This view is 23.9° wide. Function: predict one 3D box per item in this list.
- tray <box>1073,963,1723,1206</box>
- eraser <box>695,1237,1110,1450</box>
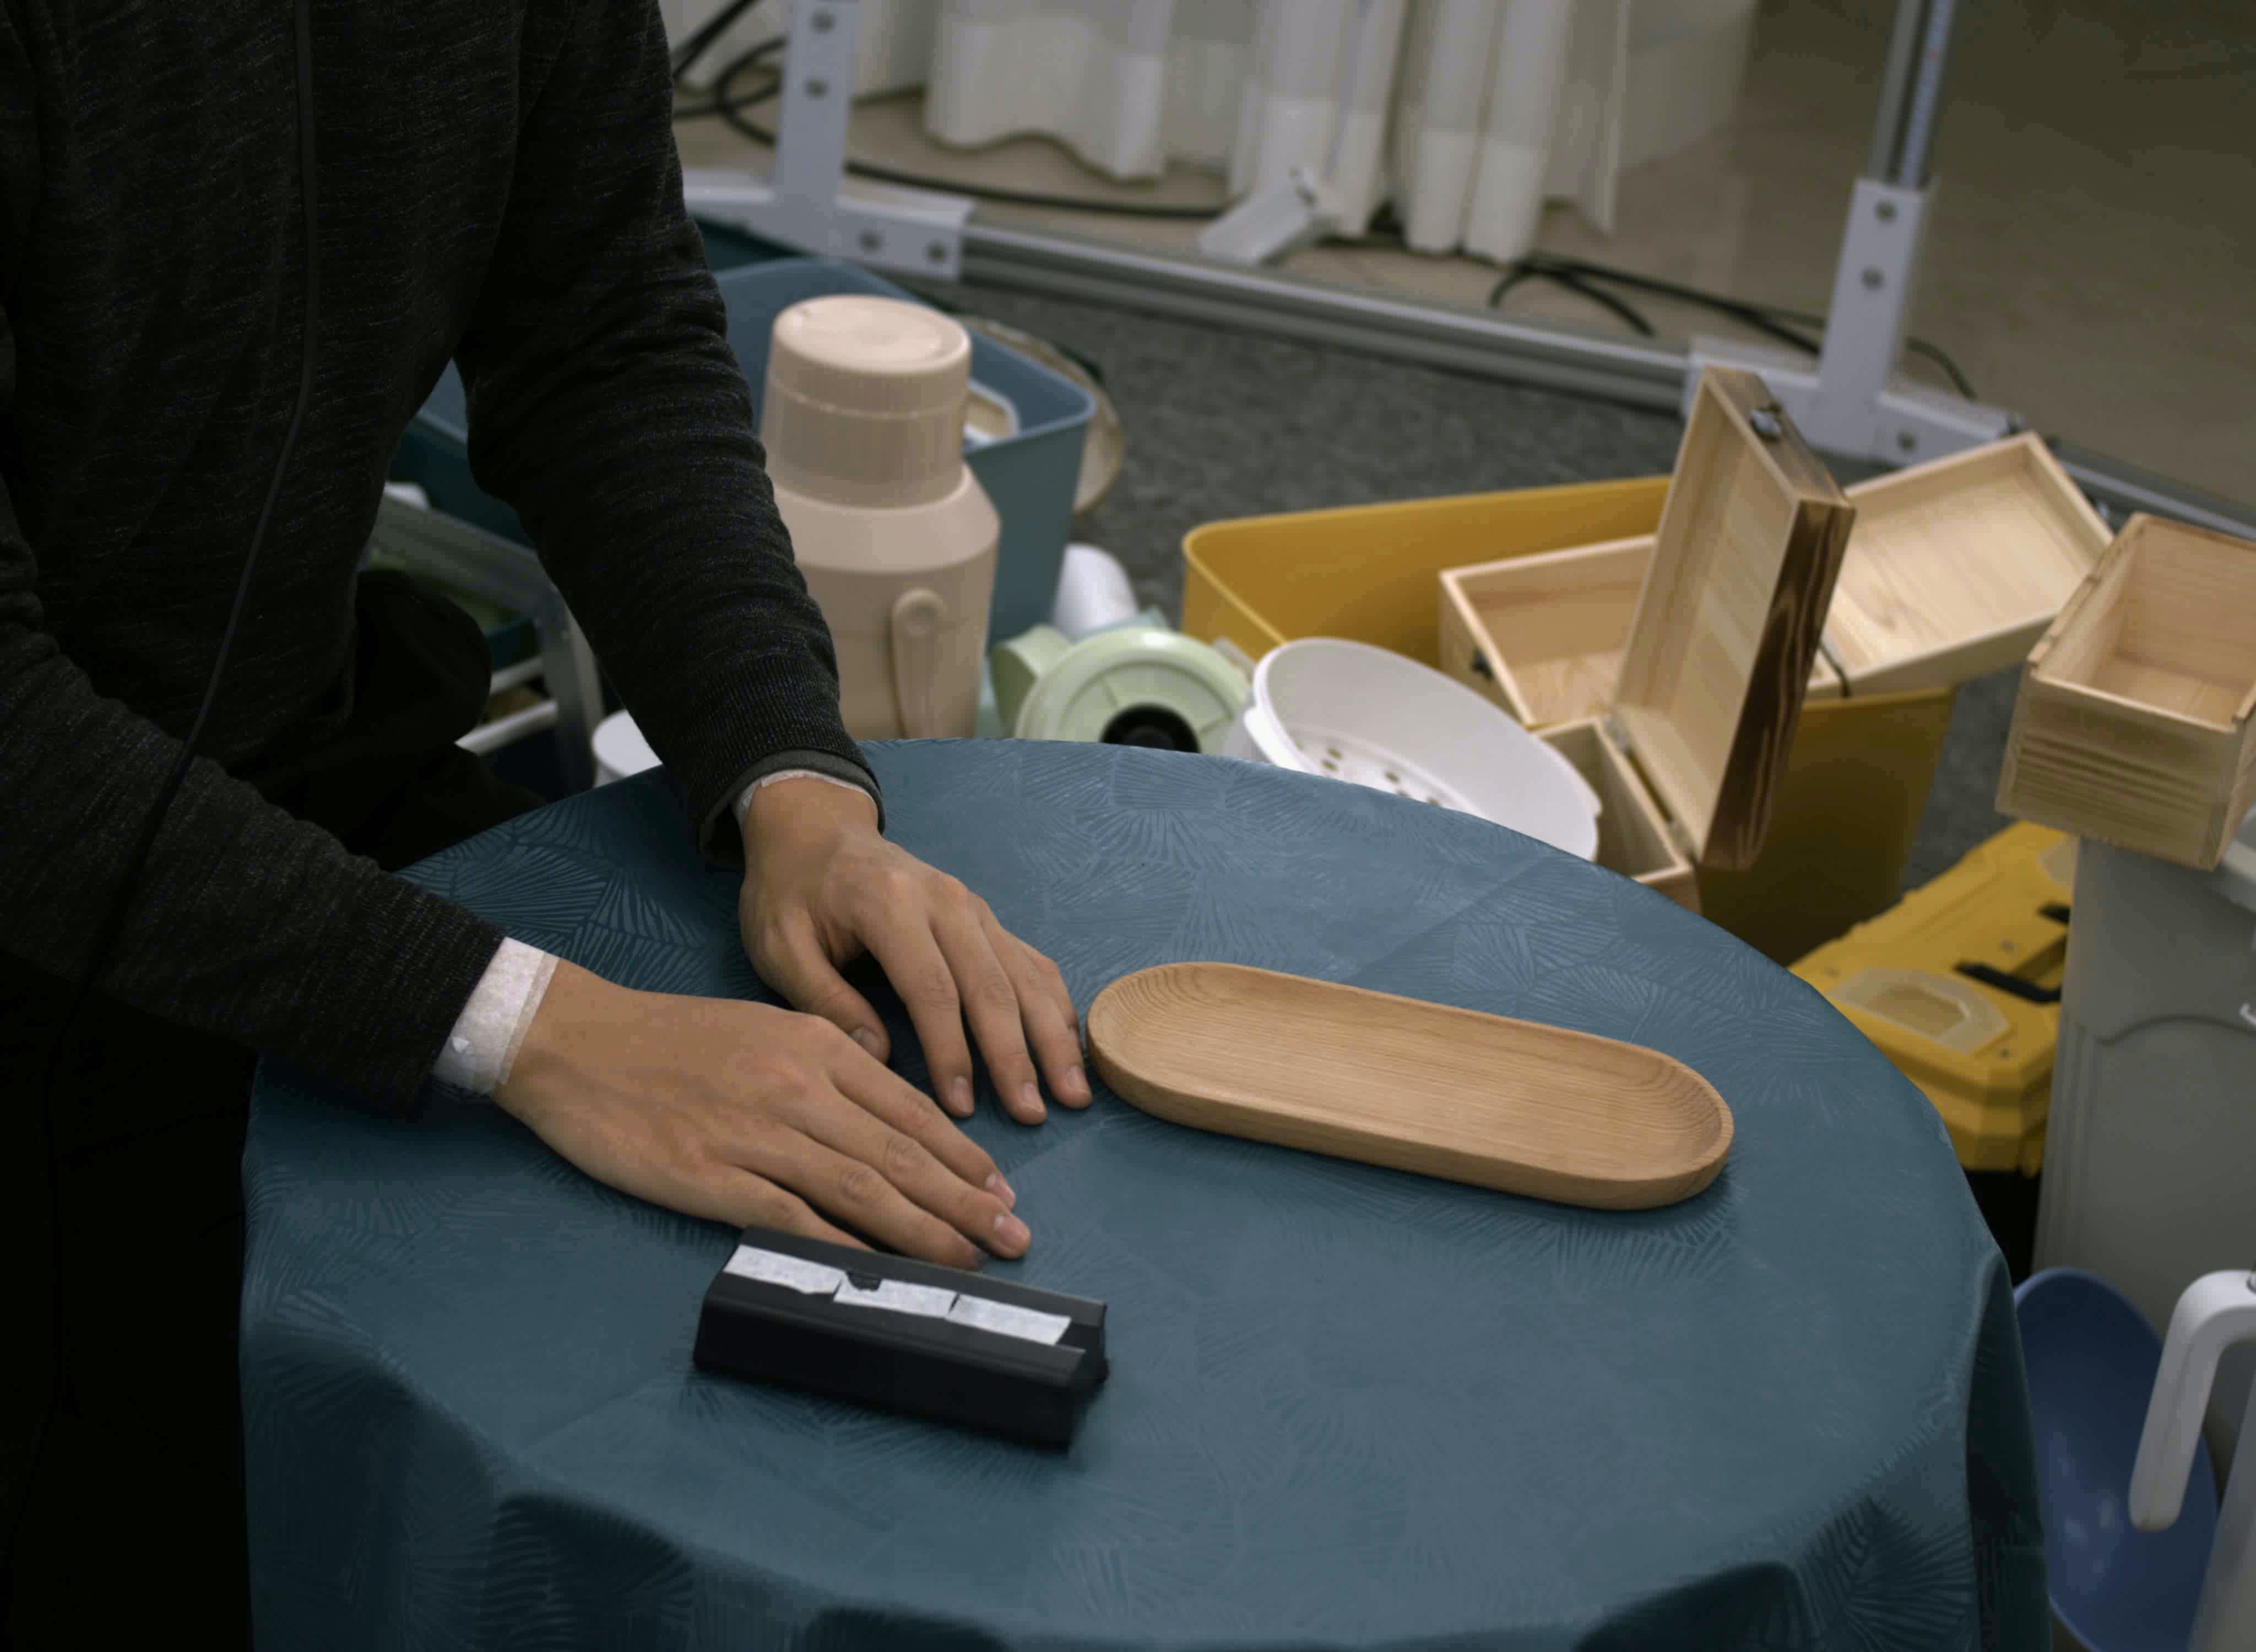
[{"bbox_3d":[0.094,0.091,1.869,0.231,0.020,0.102,10,26,9],"label":"tray"},{"bbox_3d":[-0.071,0.163,1.679,0.125,0.030,0.053,10,24,10],"label":"eraser"}]
